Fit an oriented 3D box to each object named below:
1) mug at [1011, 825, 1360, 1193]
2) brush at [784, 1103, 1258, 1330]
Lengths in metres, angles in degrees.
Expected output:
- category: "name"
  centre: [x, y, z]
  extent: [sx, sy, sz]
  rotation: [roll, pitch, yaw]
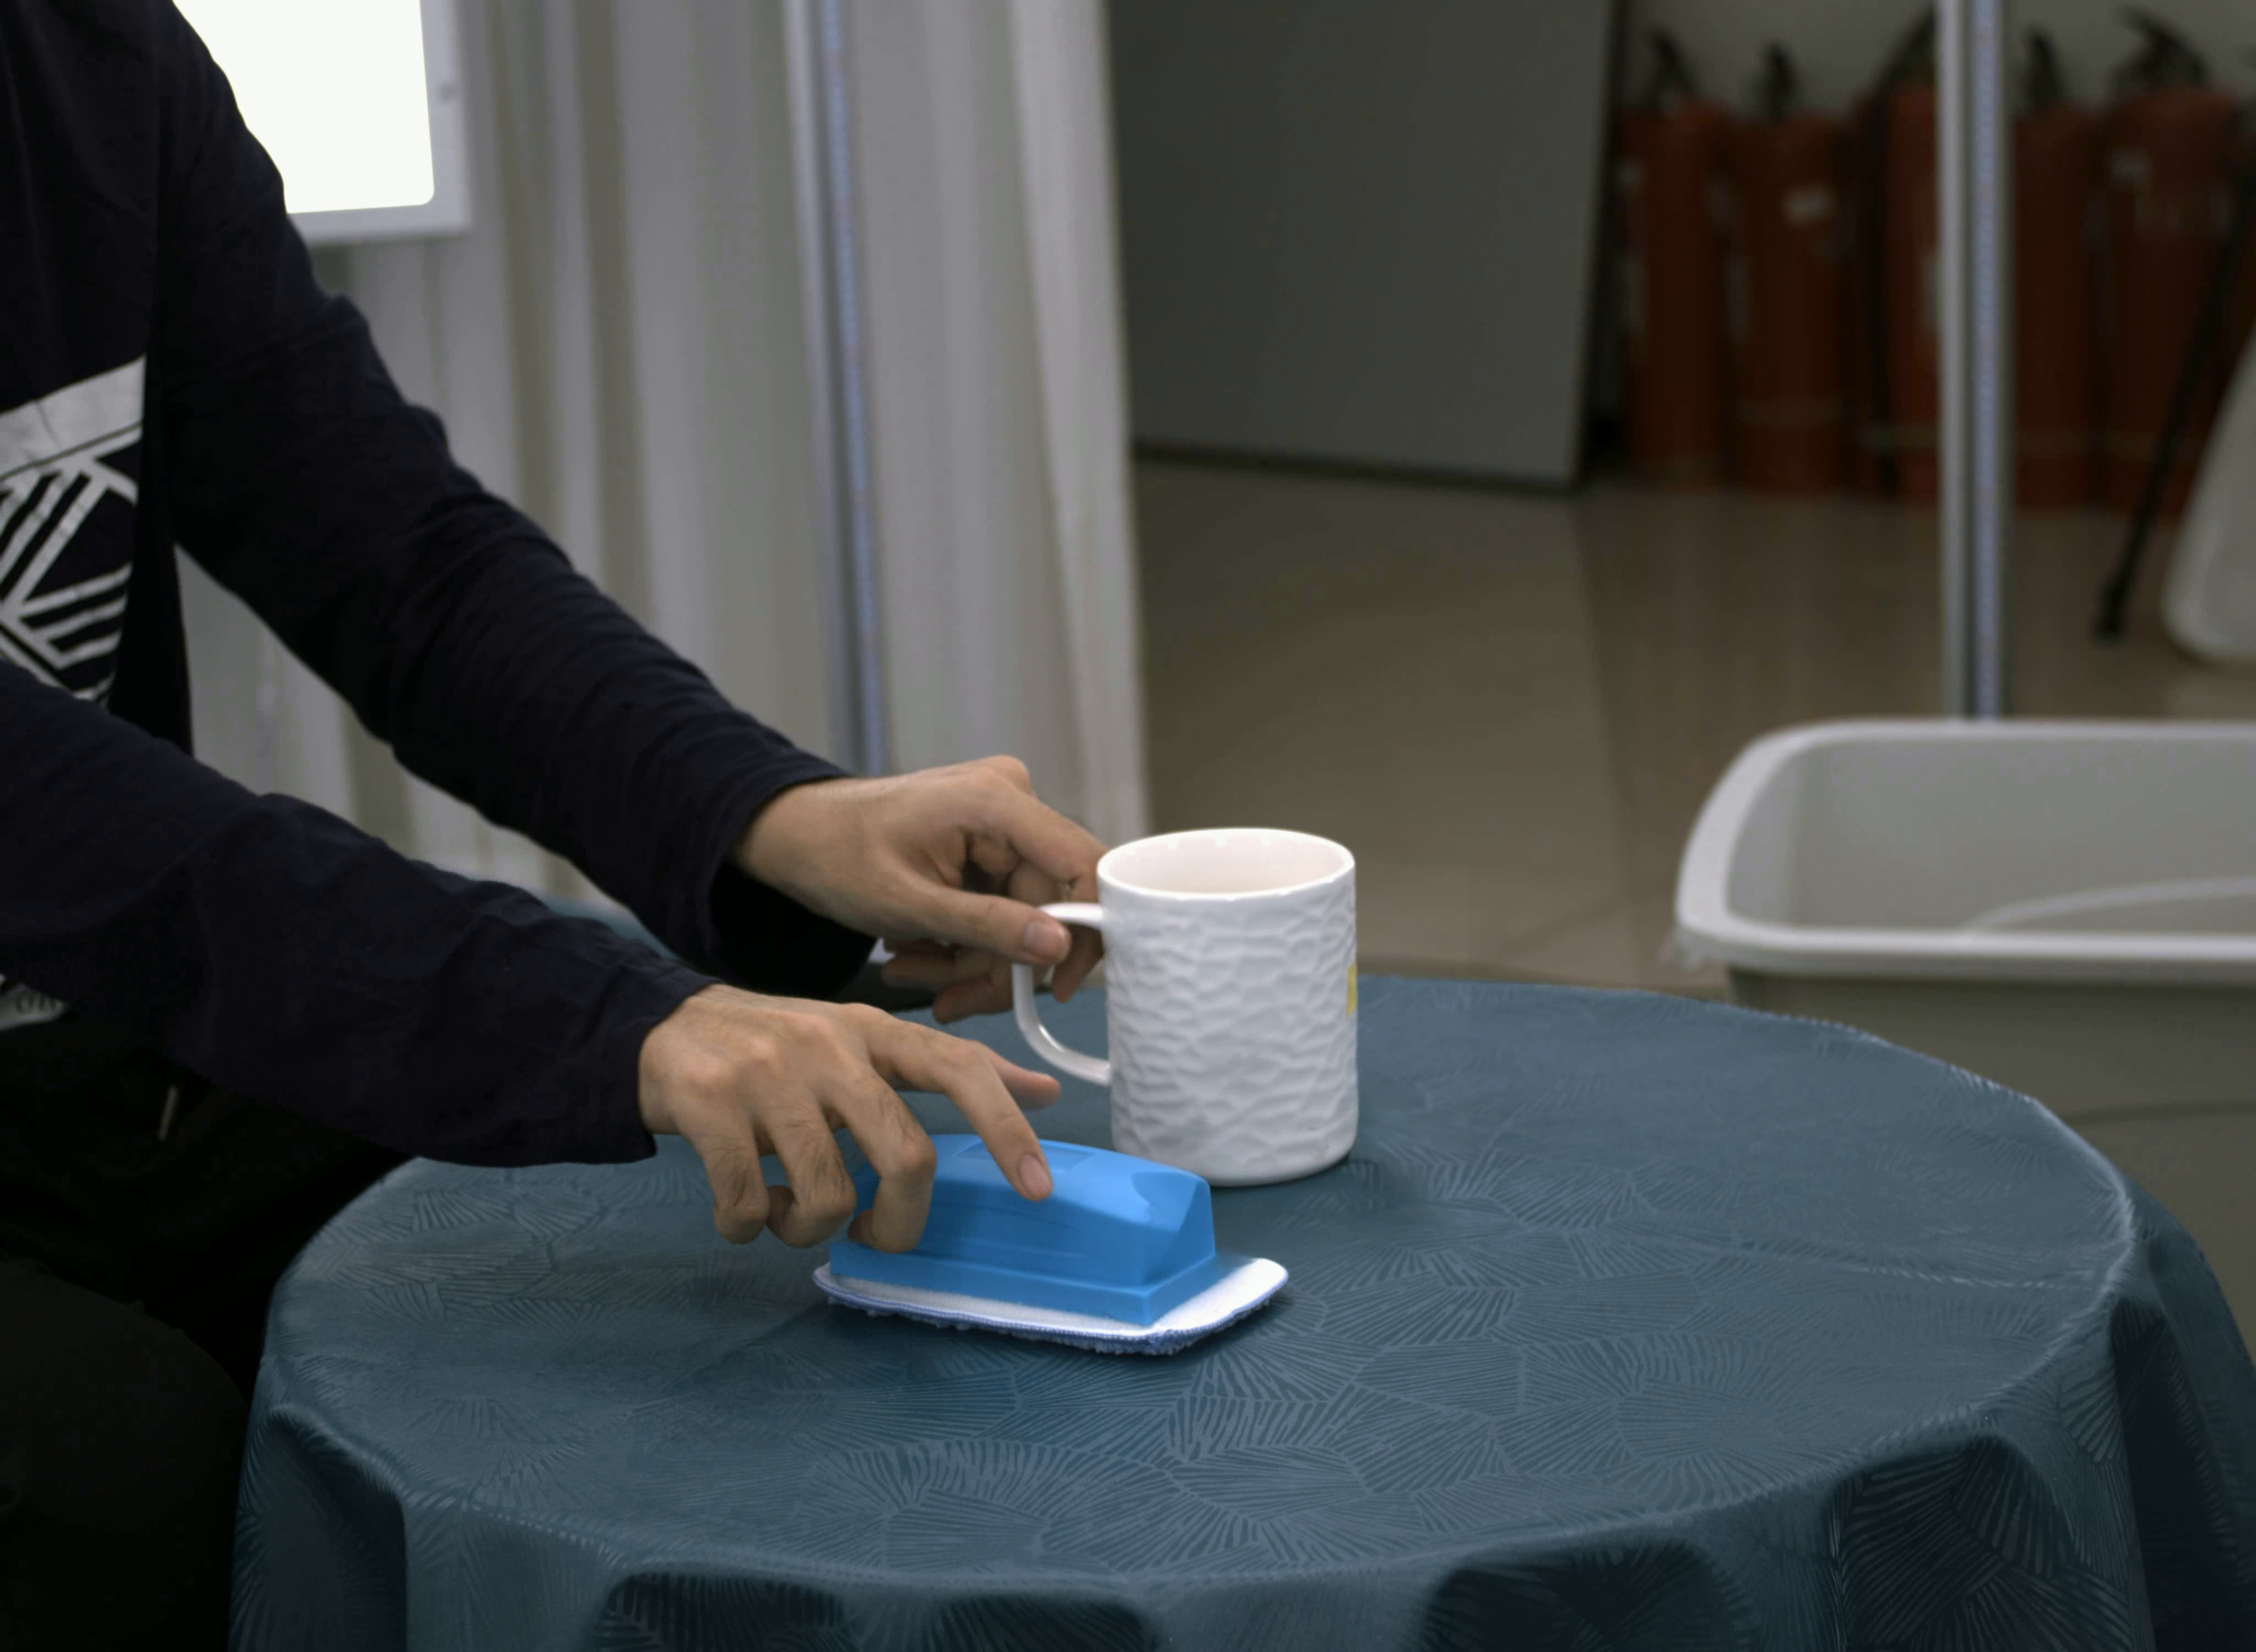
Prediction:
- category: "mug"
  centre: [0.019, 0.061, 1.796]
  extent: [0.117, 0.103, 0.084]
  rotation: [0, 16, 13]
- category: "brush"
  centre: [-0.033, 0.119, 1.666]
  extent: [0.145, 0.056, 0.082]
  rotation: [9, 15, 36]
